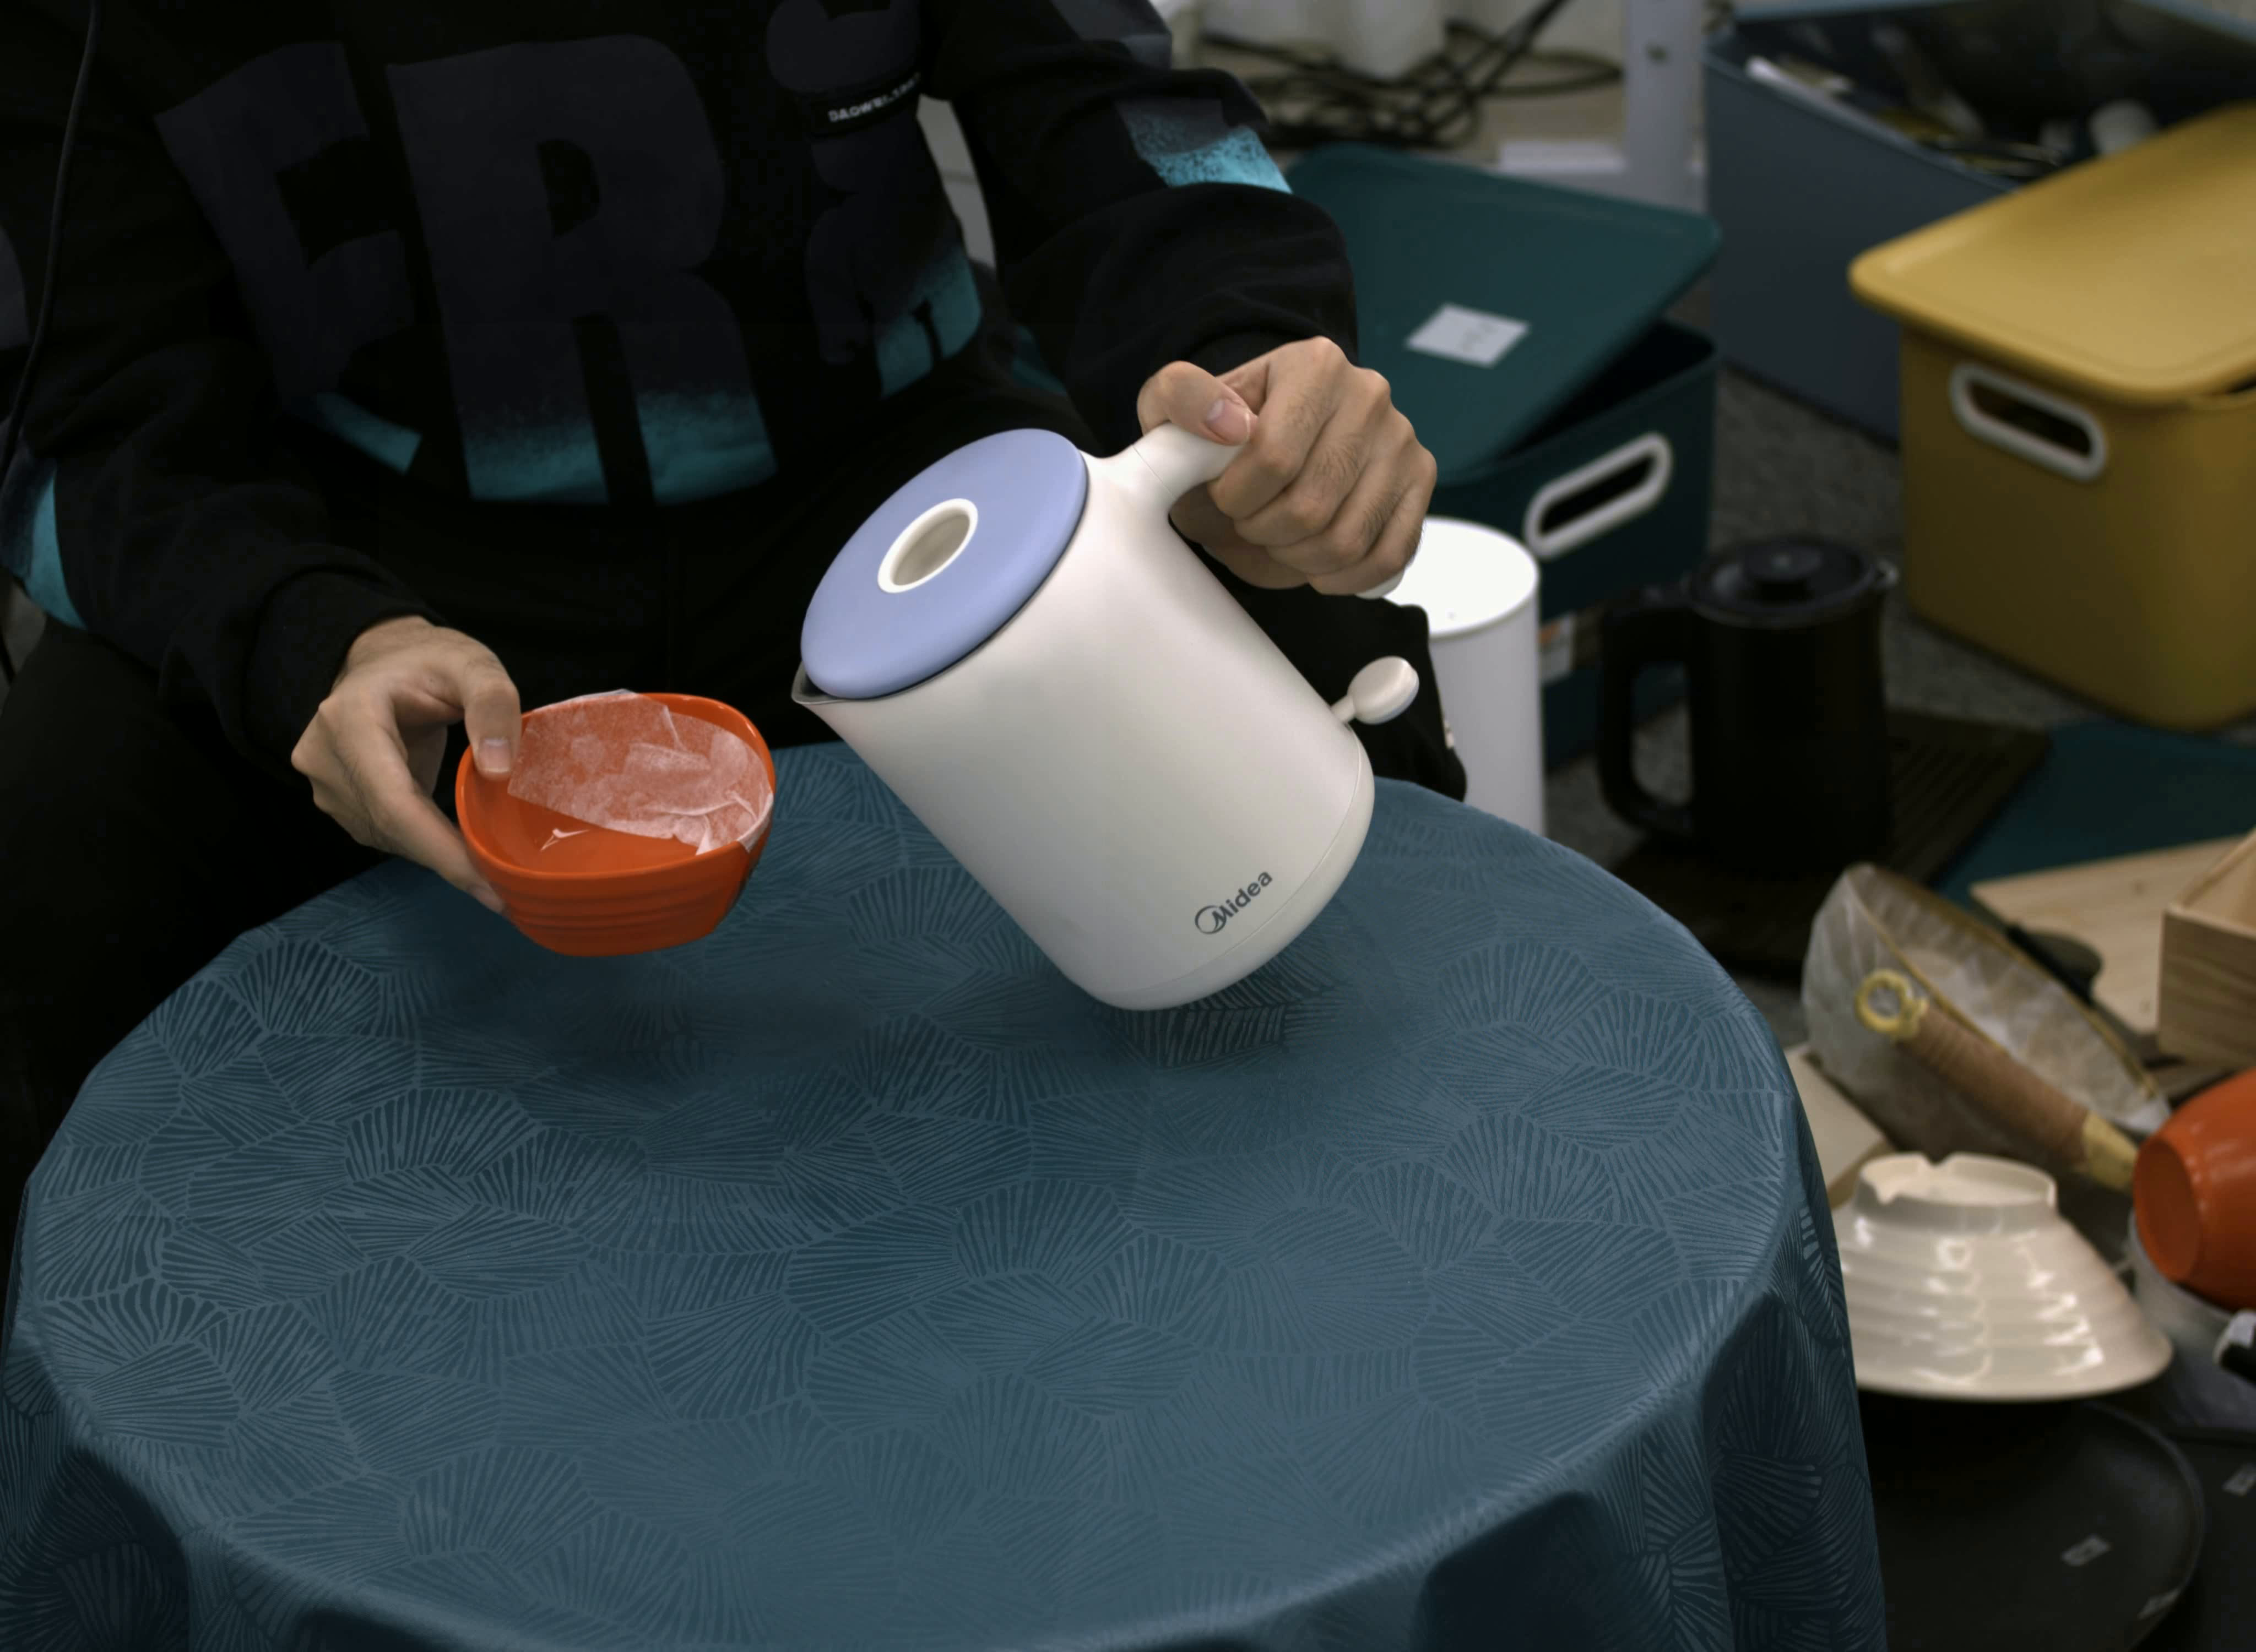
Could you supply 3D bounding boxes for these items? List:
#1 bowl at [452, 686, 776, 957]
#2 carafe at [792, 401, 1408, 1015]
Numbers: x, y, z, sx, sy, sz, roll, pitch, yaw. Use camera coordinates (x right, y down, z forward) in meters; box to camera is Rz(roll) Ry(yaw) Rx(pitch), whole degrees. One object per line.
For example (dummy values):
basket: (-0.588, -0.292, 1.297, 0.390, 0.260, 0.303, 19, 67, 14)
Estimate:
bowl: (-0.175, 0.004, 1.936, 0.118, 0.050, 0.121, -2, 35, 2)
carafe: (0.004, -0.051, 1.918, 0.191, 0.181, 0.133, -39, 30, 0)
